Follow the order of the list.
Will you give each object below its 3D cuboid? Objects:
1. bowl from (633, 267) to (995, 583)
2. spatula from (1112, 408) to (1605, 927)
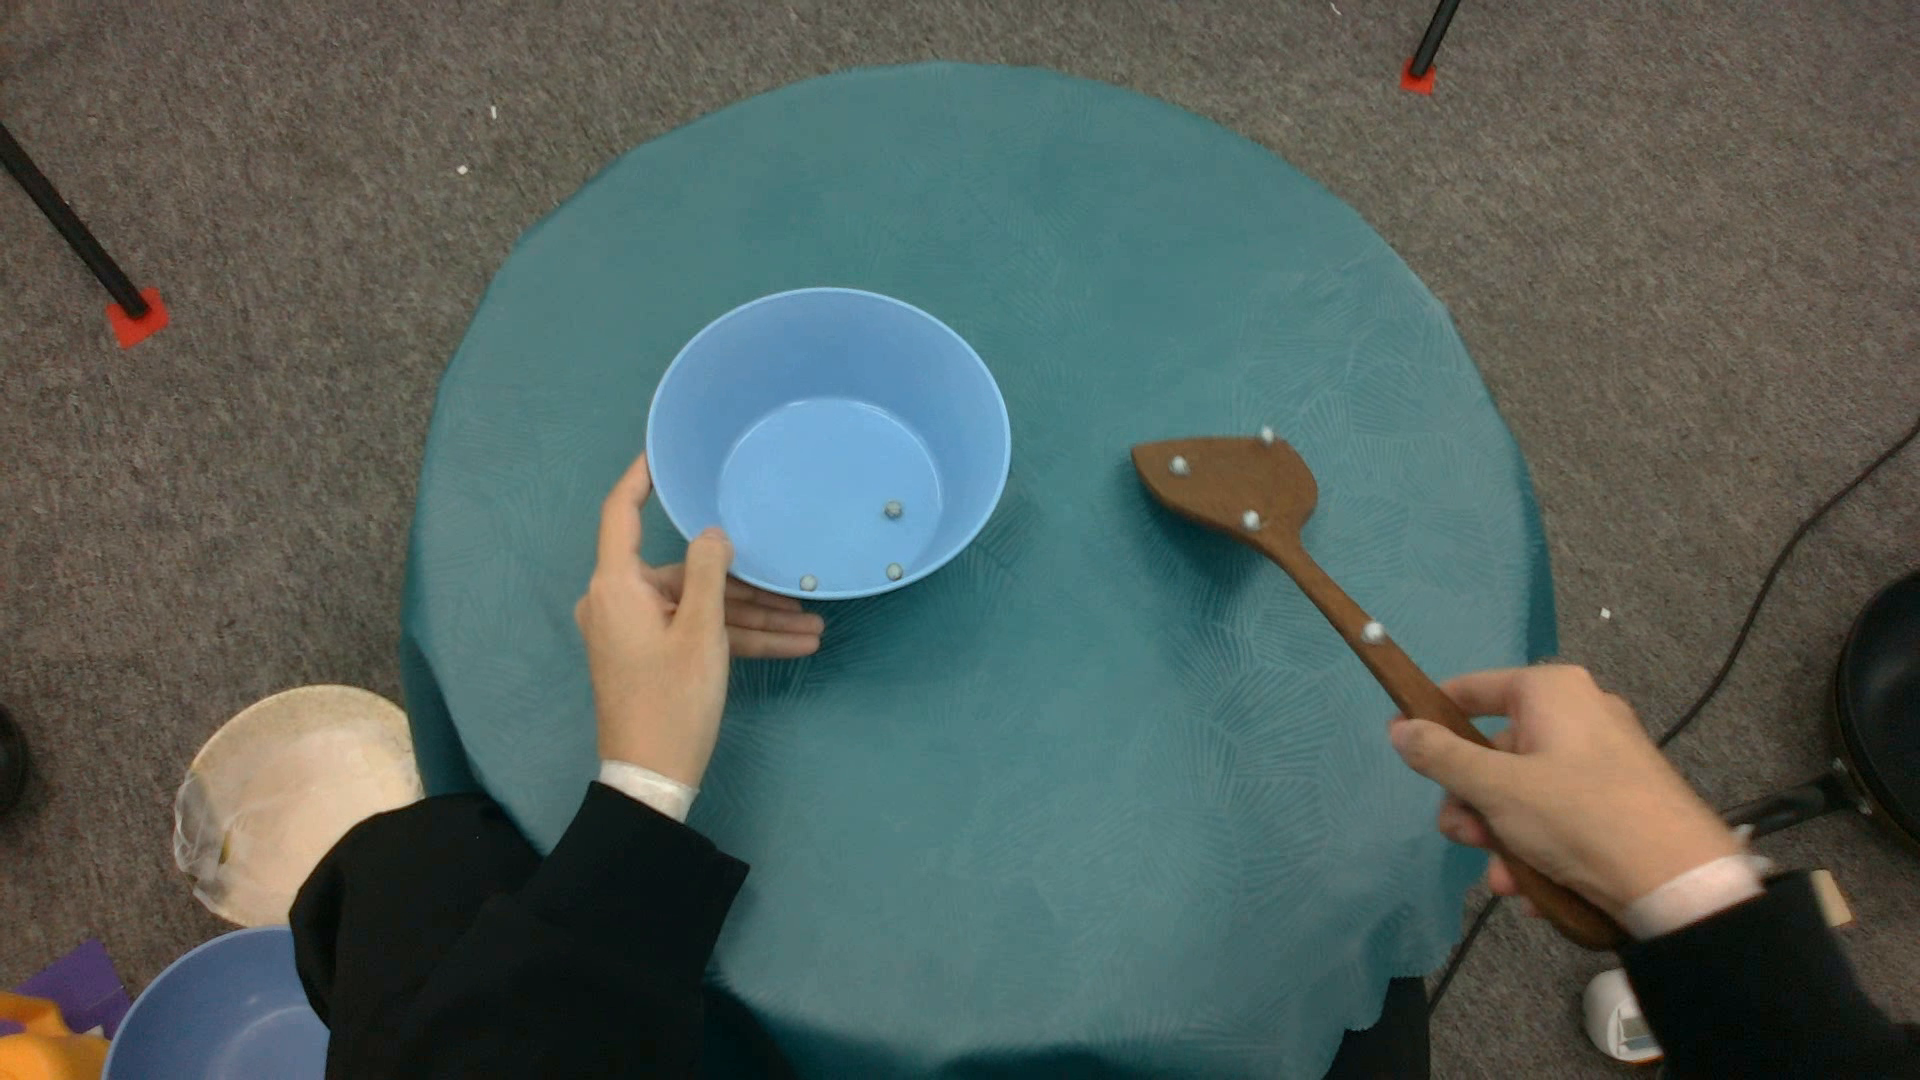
[{"bbox_3d":[-0.073,-0.047,0.697,0.176,0.070,0.176,3,65,-5],"label":"bowl"},{"bbox_3d":[0.166,0.026,0.615,0.096,0.016,0.387,-4,31,-13],"label":"spatula"}]
